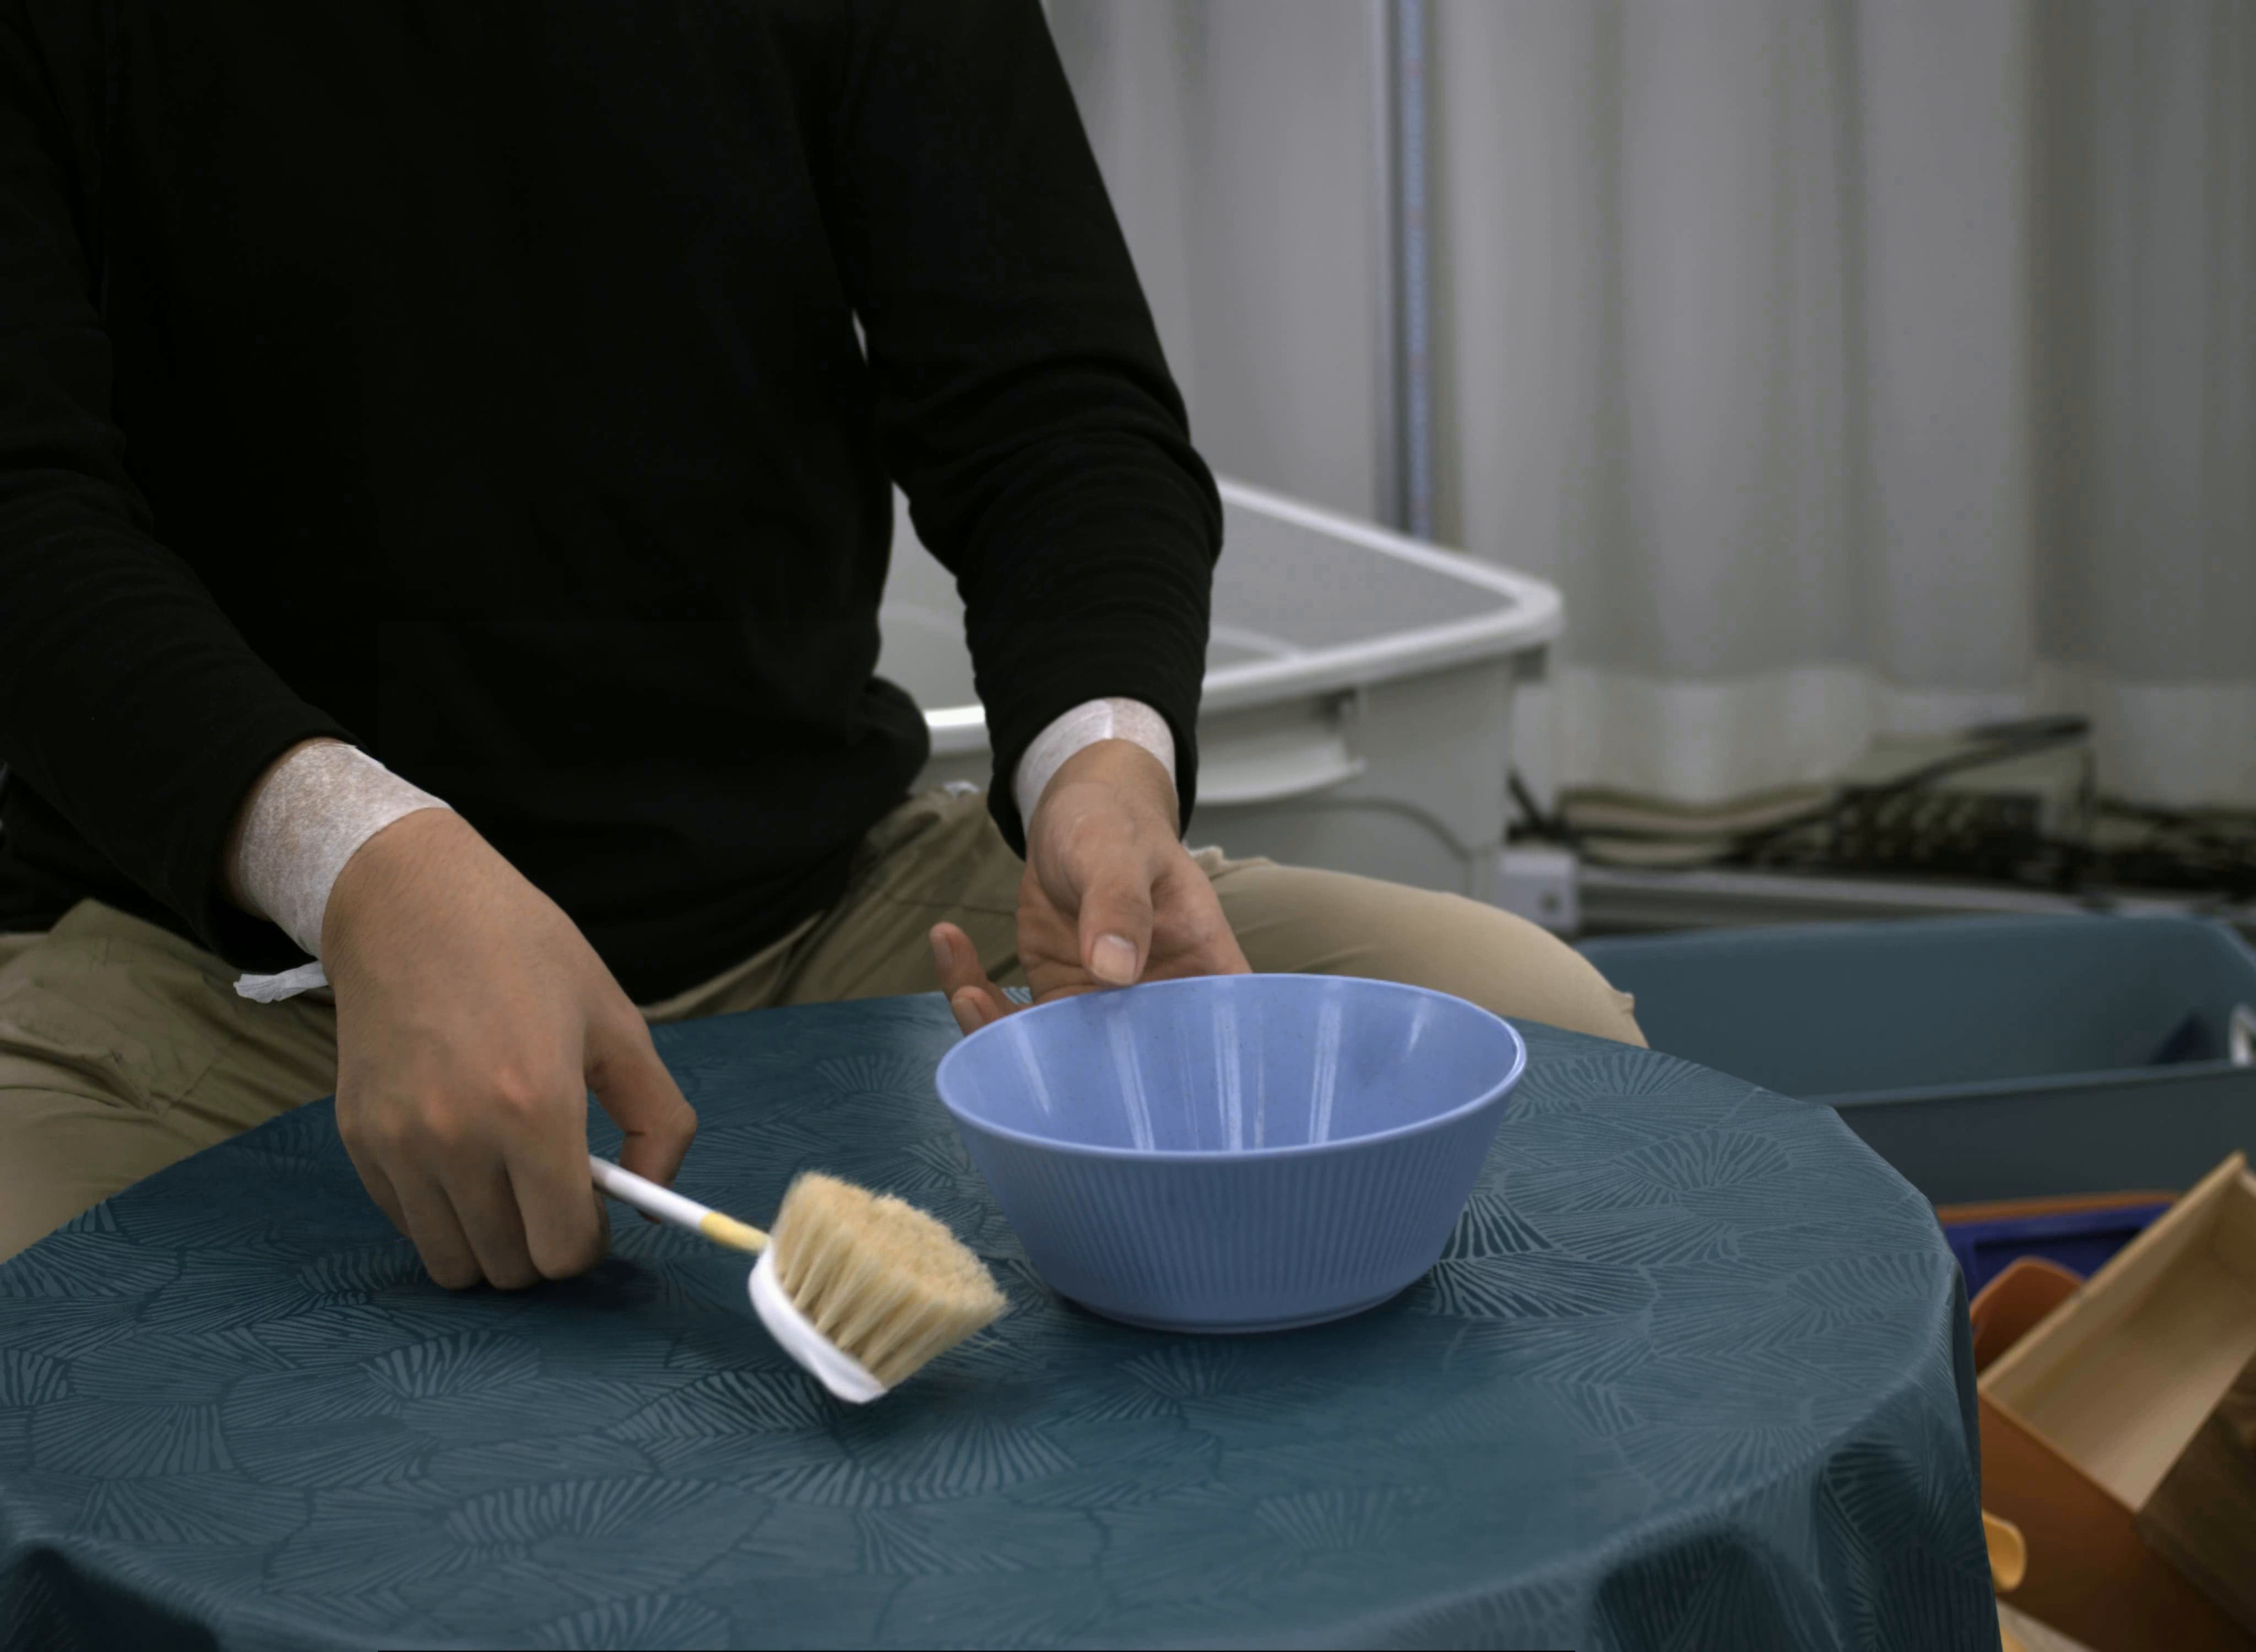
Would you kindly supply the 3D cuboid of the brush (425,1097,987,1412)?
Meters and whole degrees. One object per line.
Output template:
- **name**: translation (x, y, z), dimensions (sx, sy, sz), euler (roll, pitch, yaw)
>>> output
- **brush**: translation (-0.131, 0.104, 1.616), dimensions (0.068, 0.056, 0.269), euler (38, -8, -35)

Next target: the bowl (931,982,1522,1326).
- **bowl**: translation (0.030, 0.099, 1.626), dimensions (0.175, 0.070, 0.177), euler (-2, 14, 0)
